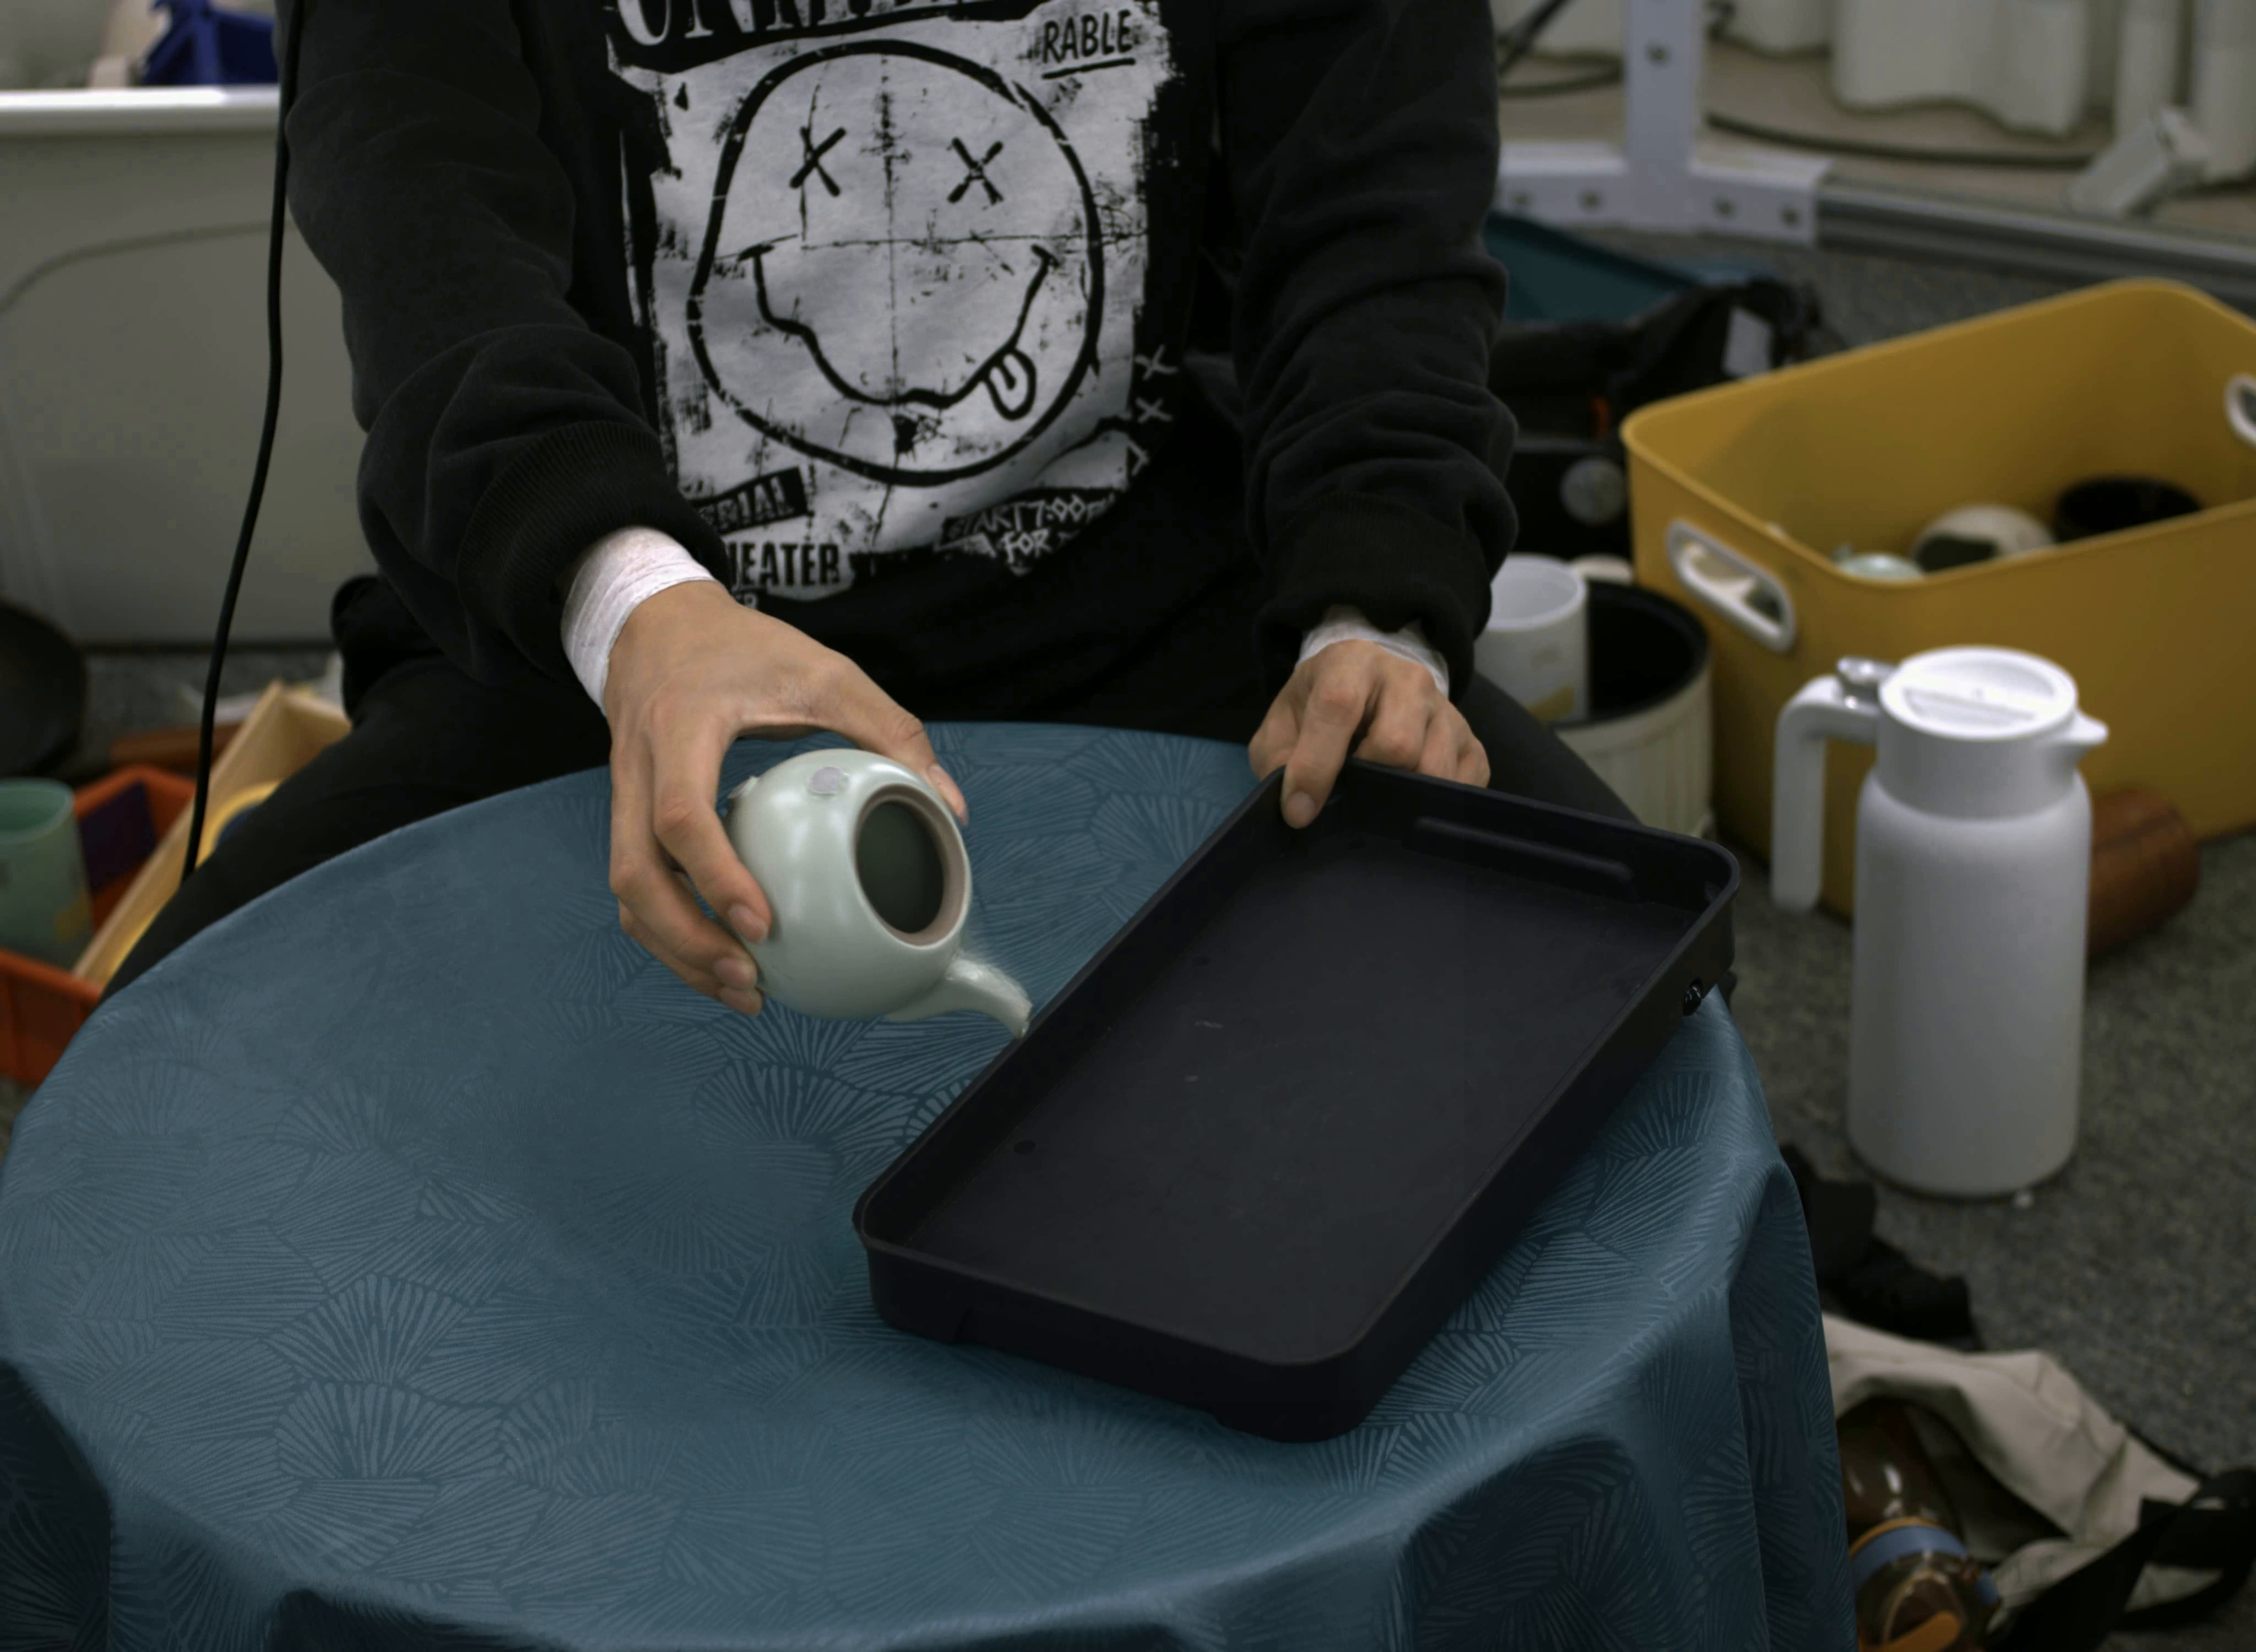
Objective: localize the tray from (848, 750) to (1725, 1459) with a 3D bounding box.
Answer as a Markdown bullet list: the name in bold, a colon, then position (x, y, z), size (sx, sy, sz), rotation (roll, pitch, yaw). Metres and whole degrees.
- **tray**: position (0.058, 0.084, 1.855), size (0.183, 0.036, 0.324), rotation (13, 37, 25)

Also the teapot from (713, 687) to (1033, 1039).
- **teapot**: position (-0.090, 0.017, 1.803), size (0.074, 0.143, 0.090), rotation (-12, 29, 35)
